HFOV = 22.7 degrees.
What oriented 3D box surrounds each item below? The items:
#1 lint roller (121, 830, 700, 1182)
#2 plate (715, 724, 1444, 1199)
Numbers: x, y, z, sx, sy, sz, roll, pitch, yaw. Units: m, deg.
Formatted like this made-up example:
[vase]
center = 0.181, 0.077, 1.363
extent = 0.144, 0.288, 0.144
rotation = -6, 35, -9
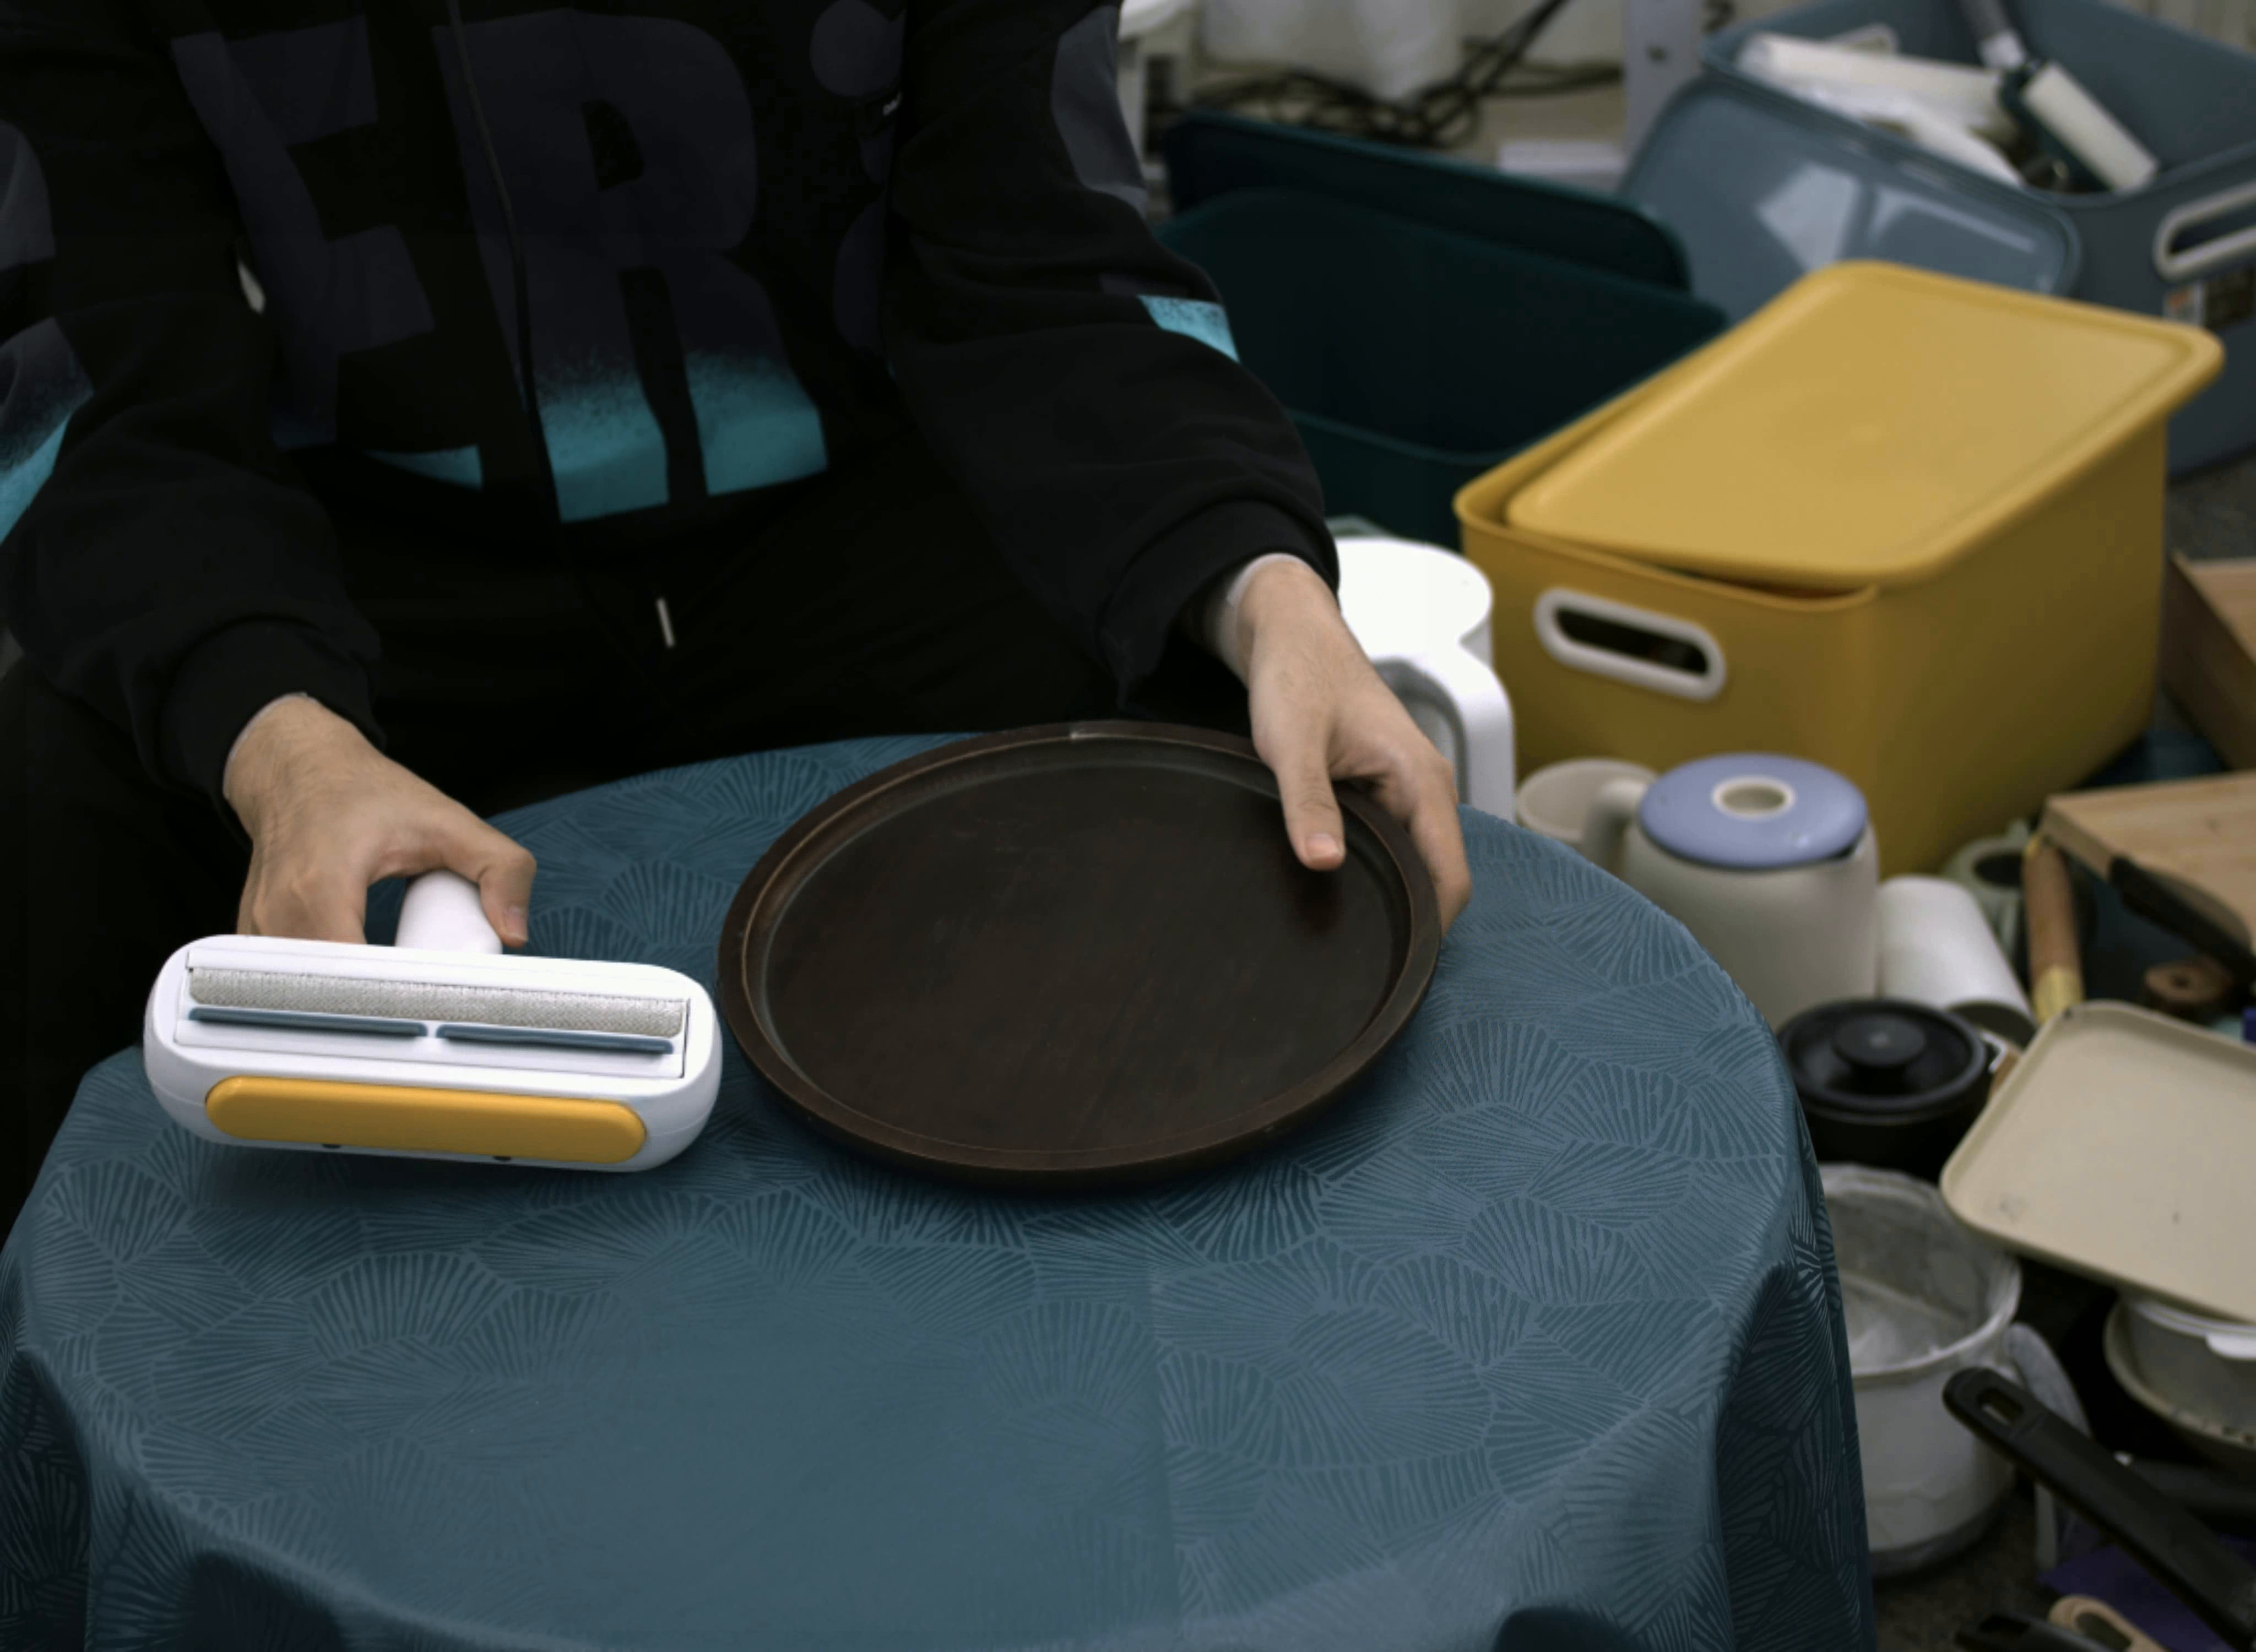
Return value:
[lint roller]
center = -0.237, 0.048, 1.934
extent = 0.192, 0.073, 0.196
rotation = 3, 36, 0
[plate]
center = -0.016, 0.046, 1.949
extent = 0.253, 0.028, 0.259
rotation = -3, 35, 2
